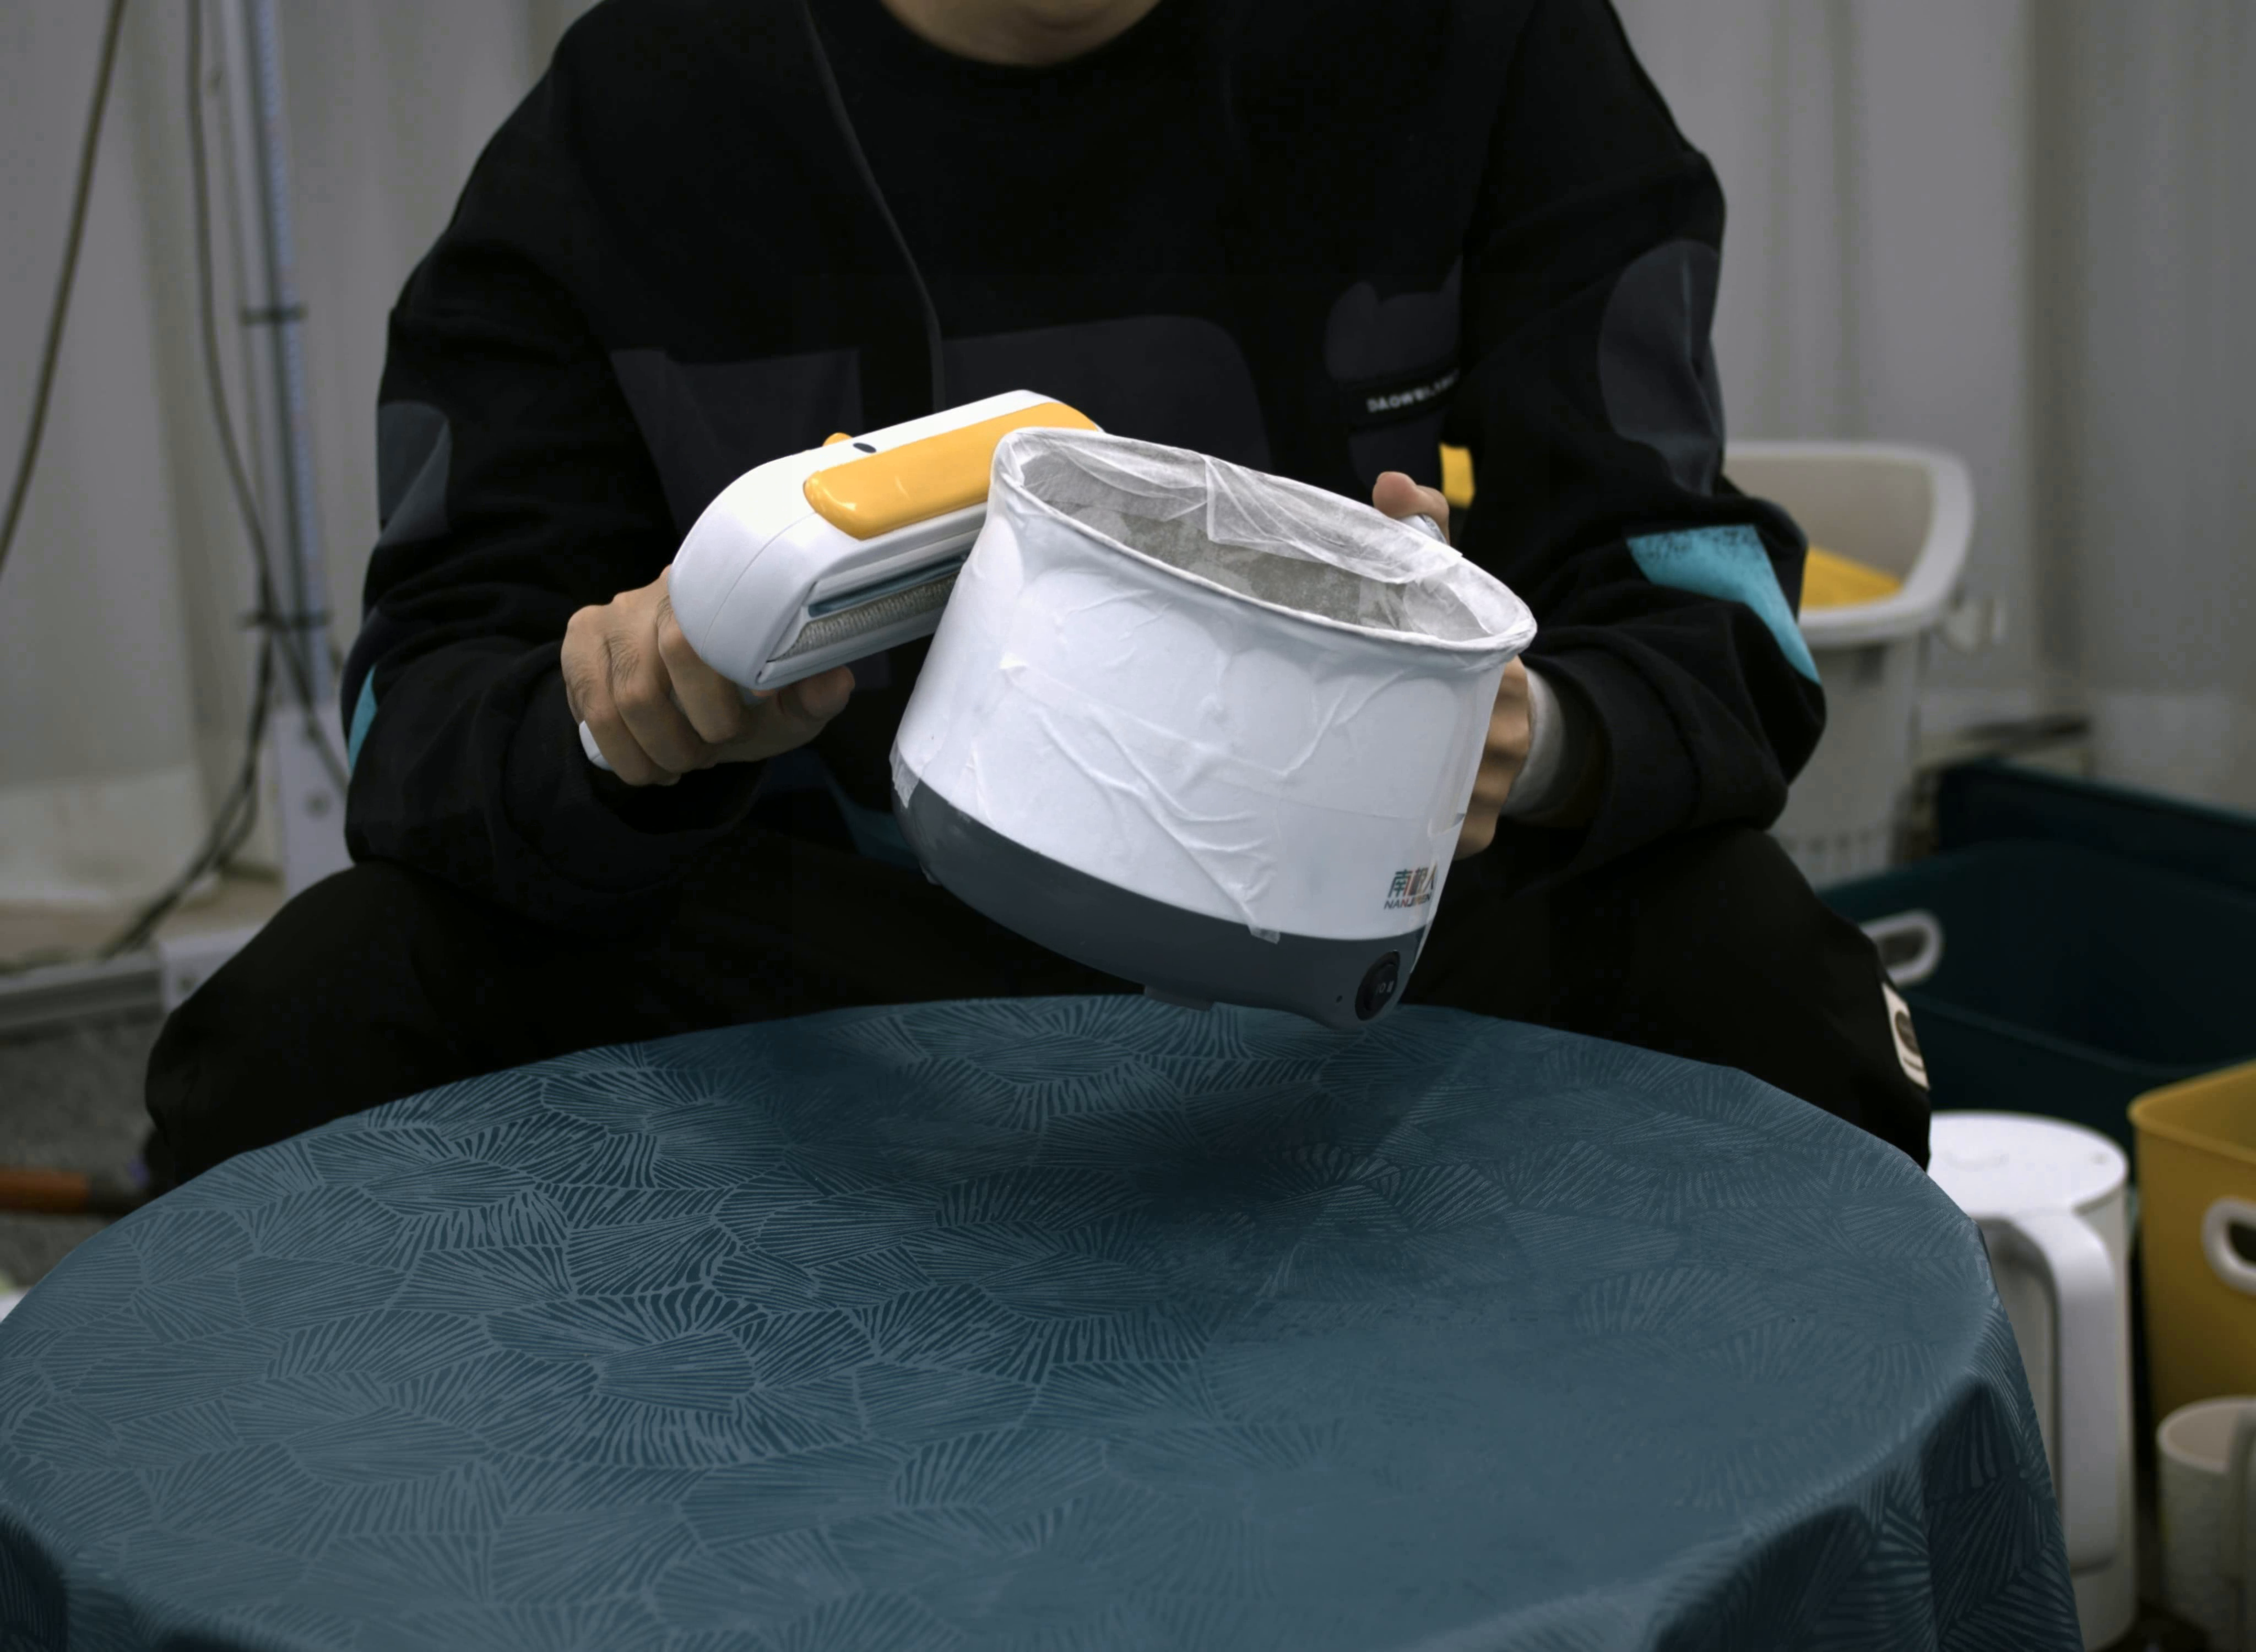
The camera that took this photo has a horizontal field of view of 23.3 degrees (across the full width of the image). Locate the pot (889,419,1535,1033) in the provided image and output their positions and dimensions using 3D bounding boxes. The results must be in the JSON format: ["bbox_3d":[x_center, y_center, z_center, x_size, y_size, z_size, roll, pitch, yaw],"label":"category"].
[{"bbox_3d":[0.036,-0.035,1.717,0.180,0.136,0.233,28,19,26],"label":"pot"}]

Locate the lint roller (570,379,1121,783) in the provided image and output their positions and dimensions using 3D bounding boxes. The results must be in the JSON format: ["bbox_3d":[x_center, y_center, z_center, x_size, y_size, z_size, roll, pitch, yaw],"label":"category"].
[{"bbox_3d":[-0.108,-0.065,1.777,0.191,0.074,0.193,-45,-10,31],"label":"lint roller"}]
